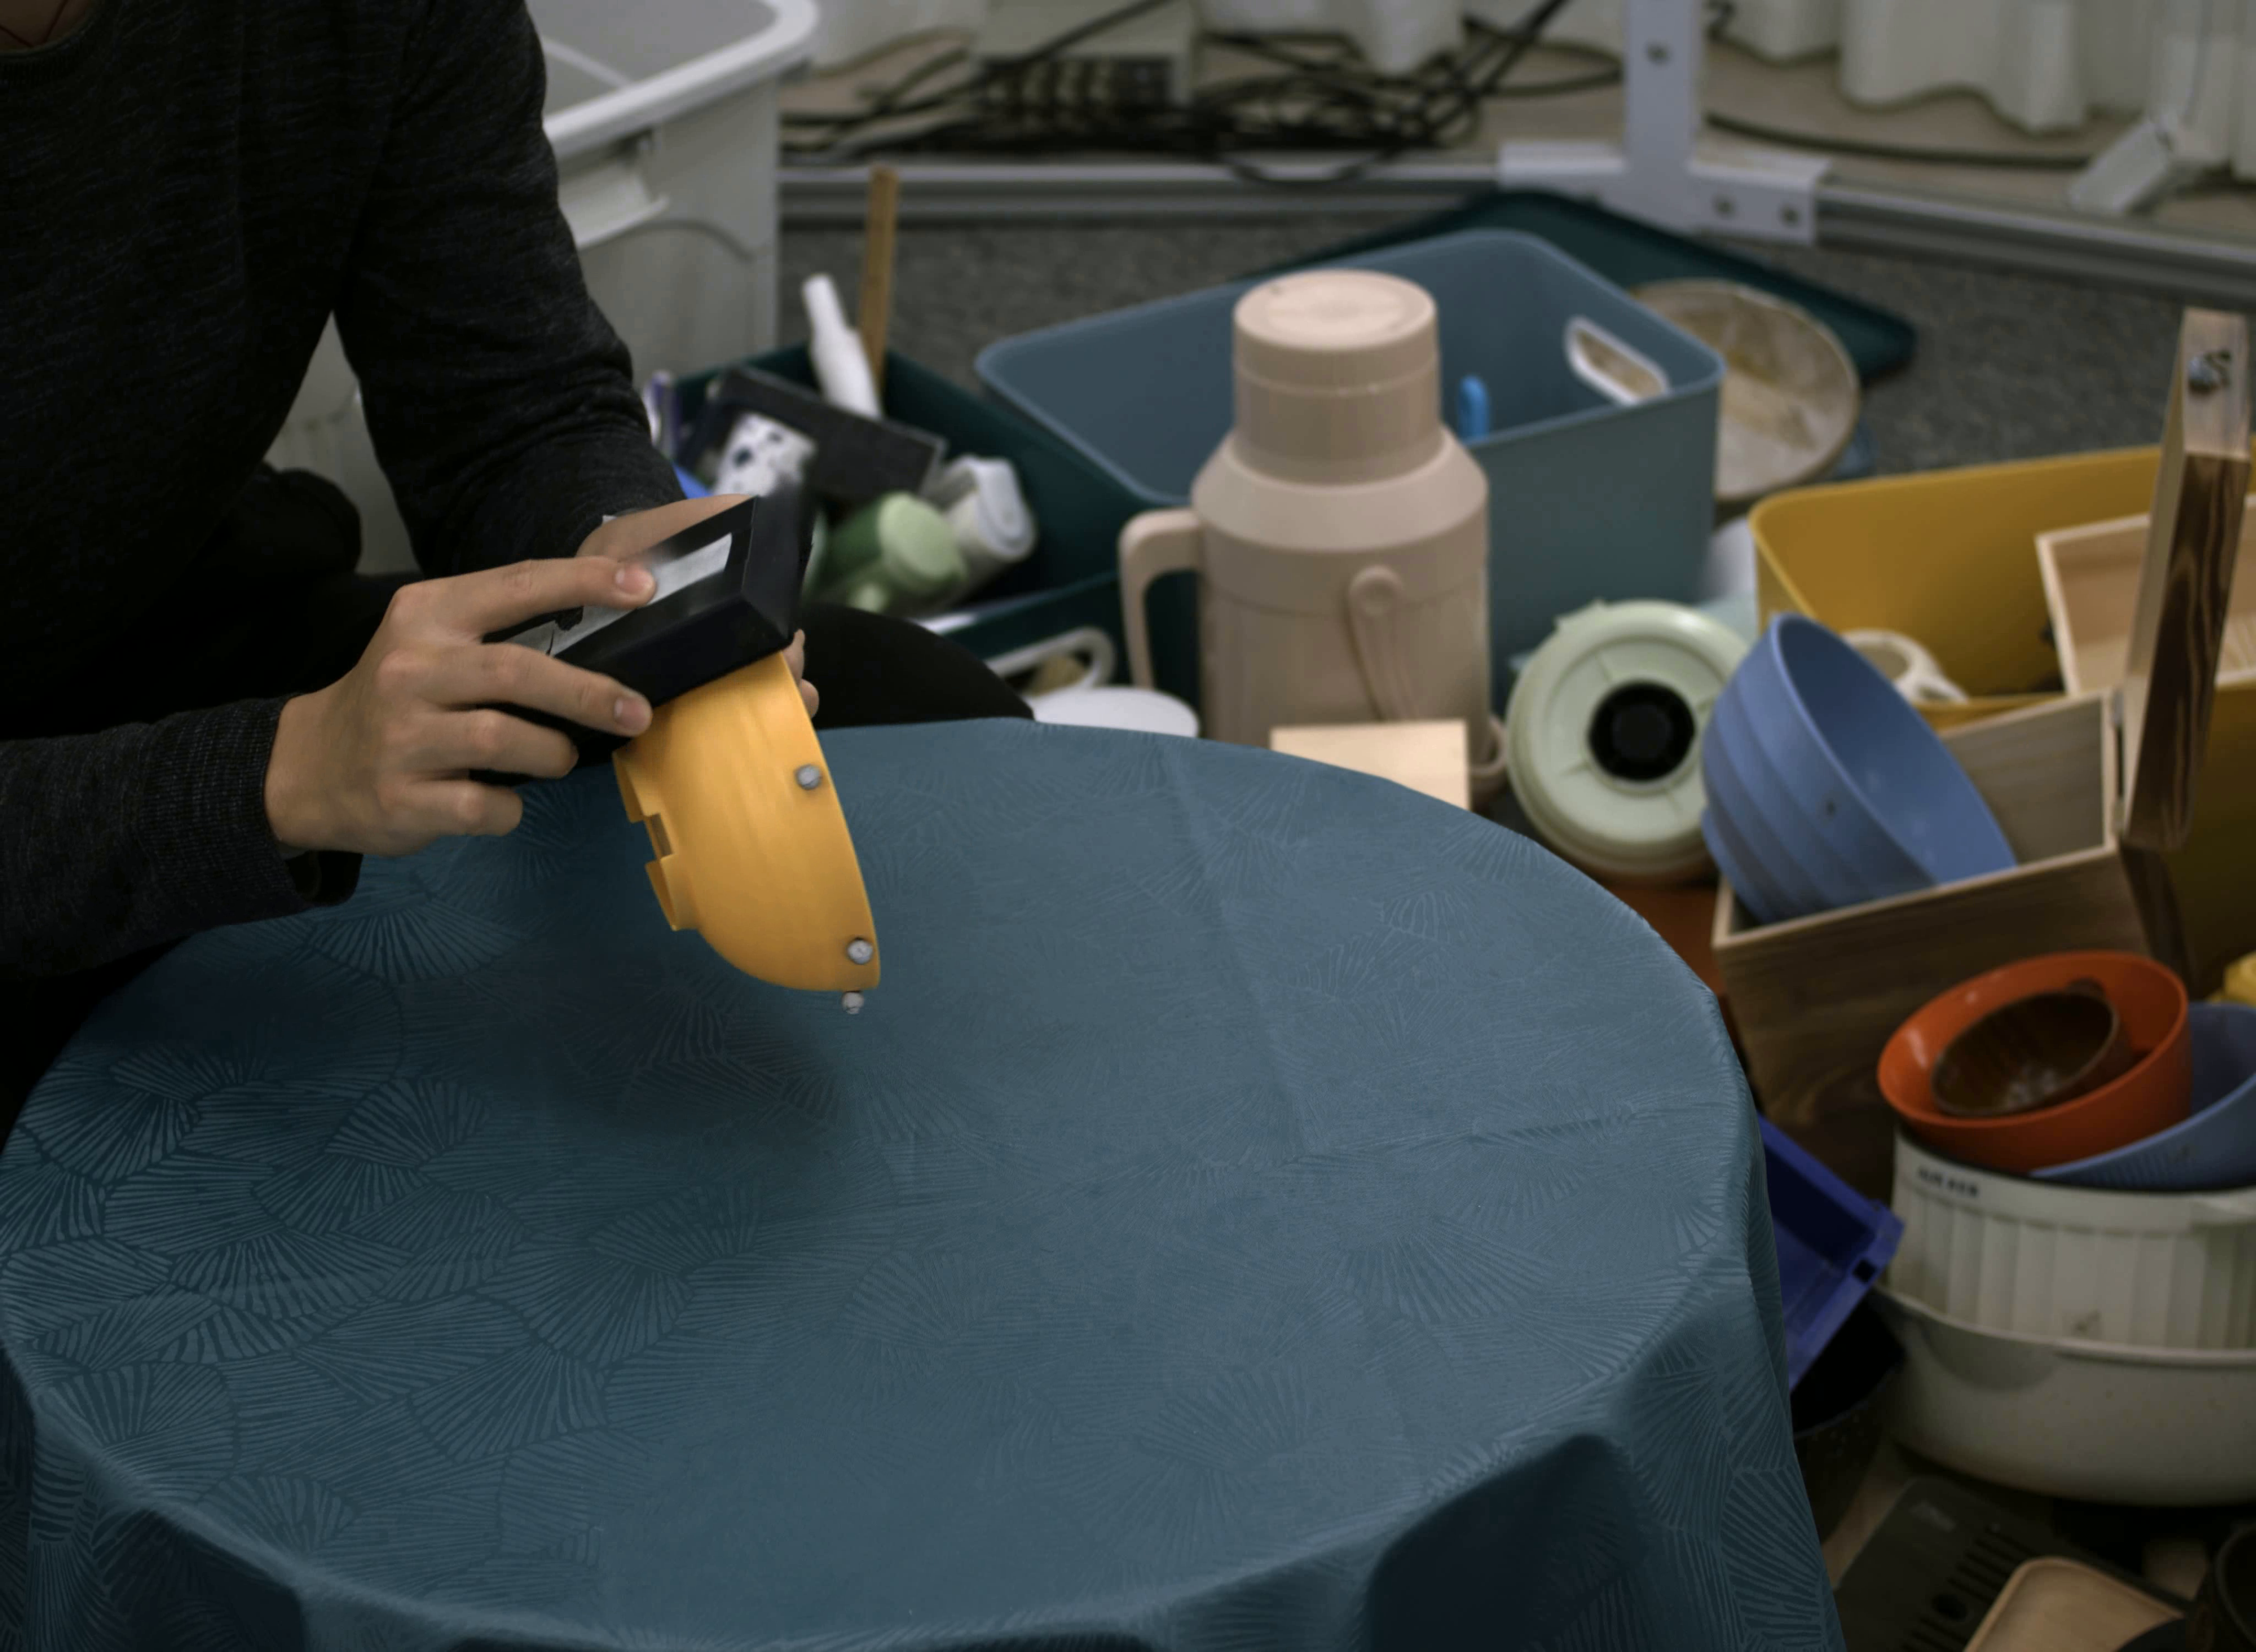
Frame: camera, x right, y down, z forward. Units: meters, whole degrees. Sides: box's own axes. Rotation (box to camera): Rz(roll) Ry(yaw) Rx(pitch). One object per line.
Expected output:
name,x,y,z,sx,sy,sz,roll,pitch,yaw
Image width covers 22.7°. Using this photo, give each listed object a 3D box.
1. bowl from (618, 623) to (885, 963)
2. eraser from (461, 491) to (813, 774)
bowl,-0.133,-0.014,1.887,0.060,0.144,0.146,-18,30,-11
eraser,-0.162,-0.064,1.860,0.124,0.030,0.054,-25,34,23
